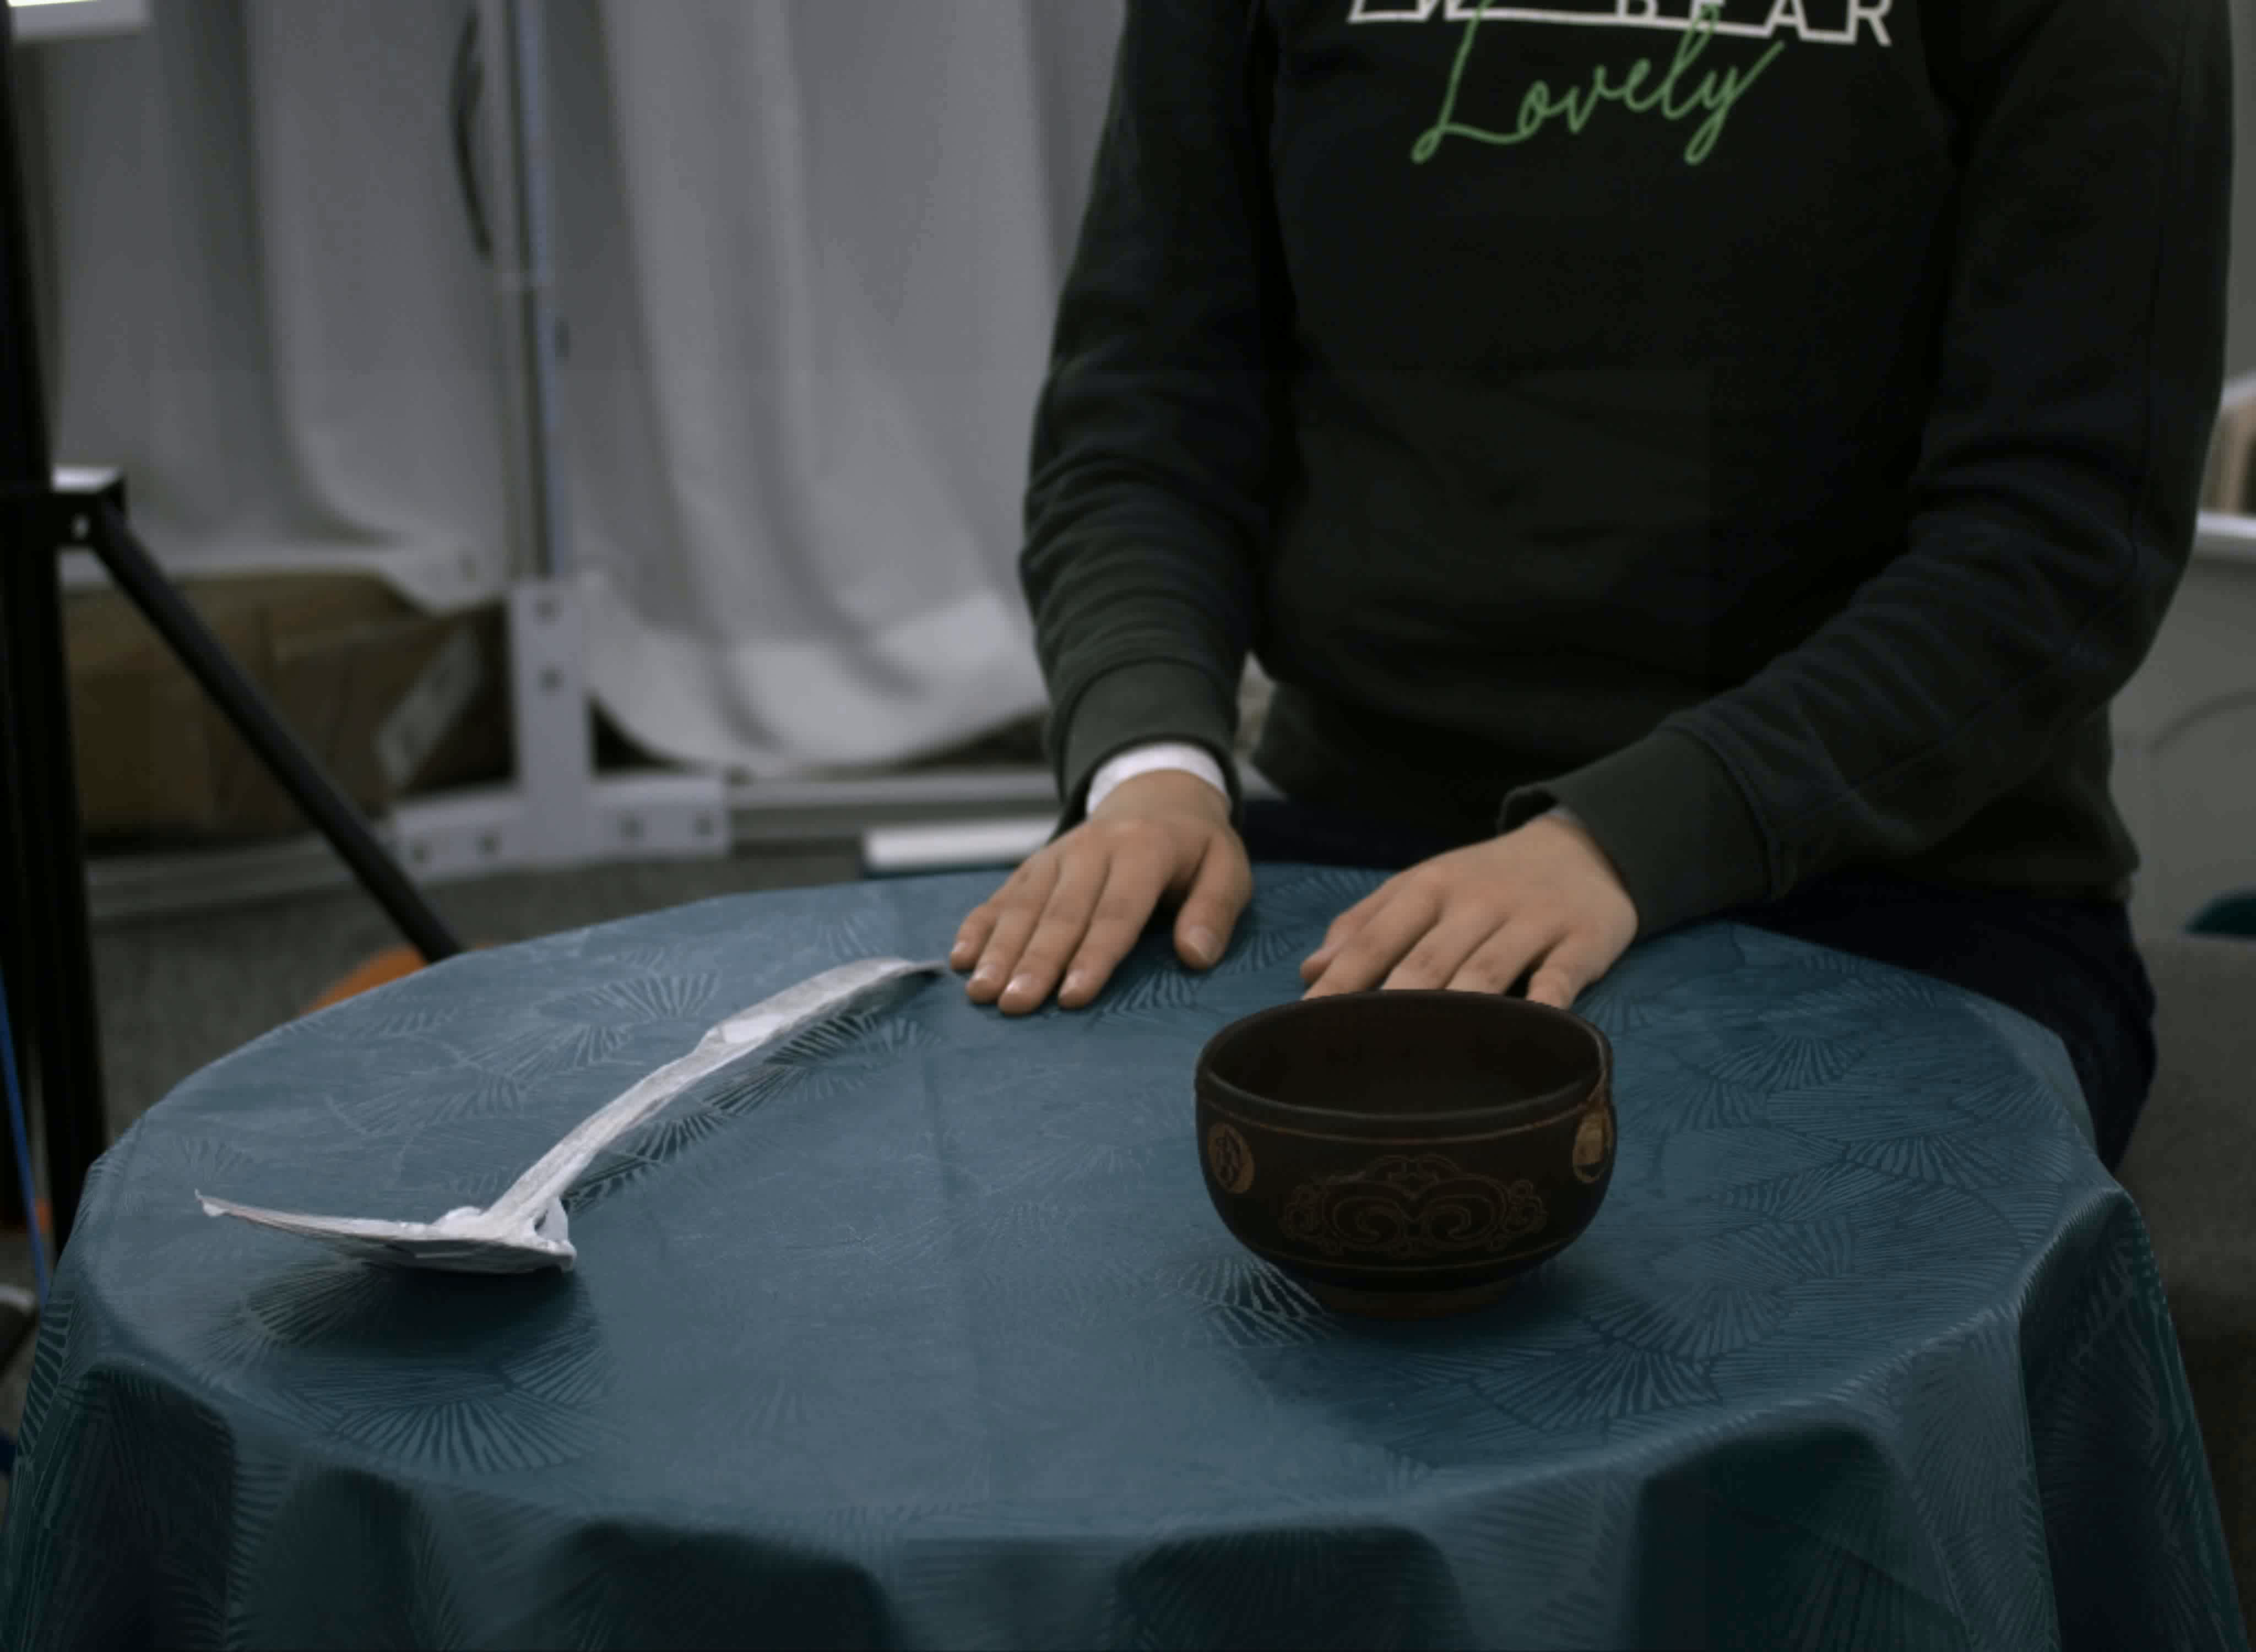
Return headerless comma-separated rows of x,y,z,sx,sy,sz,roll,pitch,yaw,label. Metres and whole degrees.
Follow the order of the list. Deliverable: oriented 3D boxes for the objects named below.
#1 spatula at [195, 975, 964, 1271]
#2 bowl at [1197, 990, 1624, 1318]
-0.144,0.080,1.610,0.100,0.045,0.359,3,17,26,spatula
0.078,0.094,1.464,0.117,0.070,0.118,-1,14,-1,bowl
